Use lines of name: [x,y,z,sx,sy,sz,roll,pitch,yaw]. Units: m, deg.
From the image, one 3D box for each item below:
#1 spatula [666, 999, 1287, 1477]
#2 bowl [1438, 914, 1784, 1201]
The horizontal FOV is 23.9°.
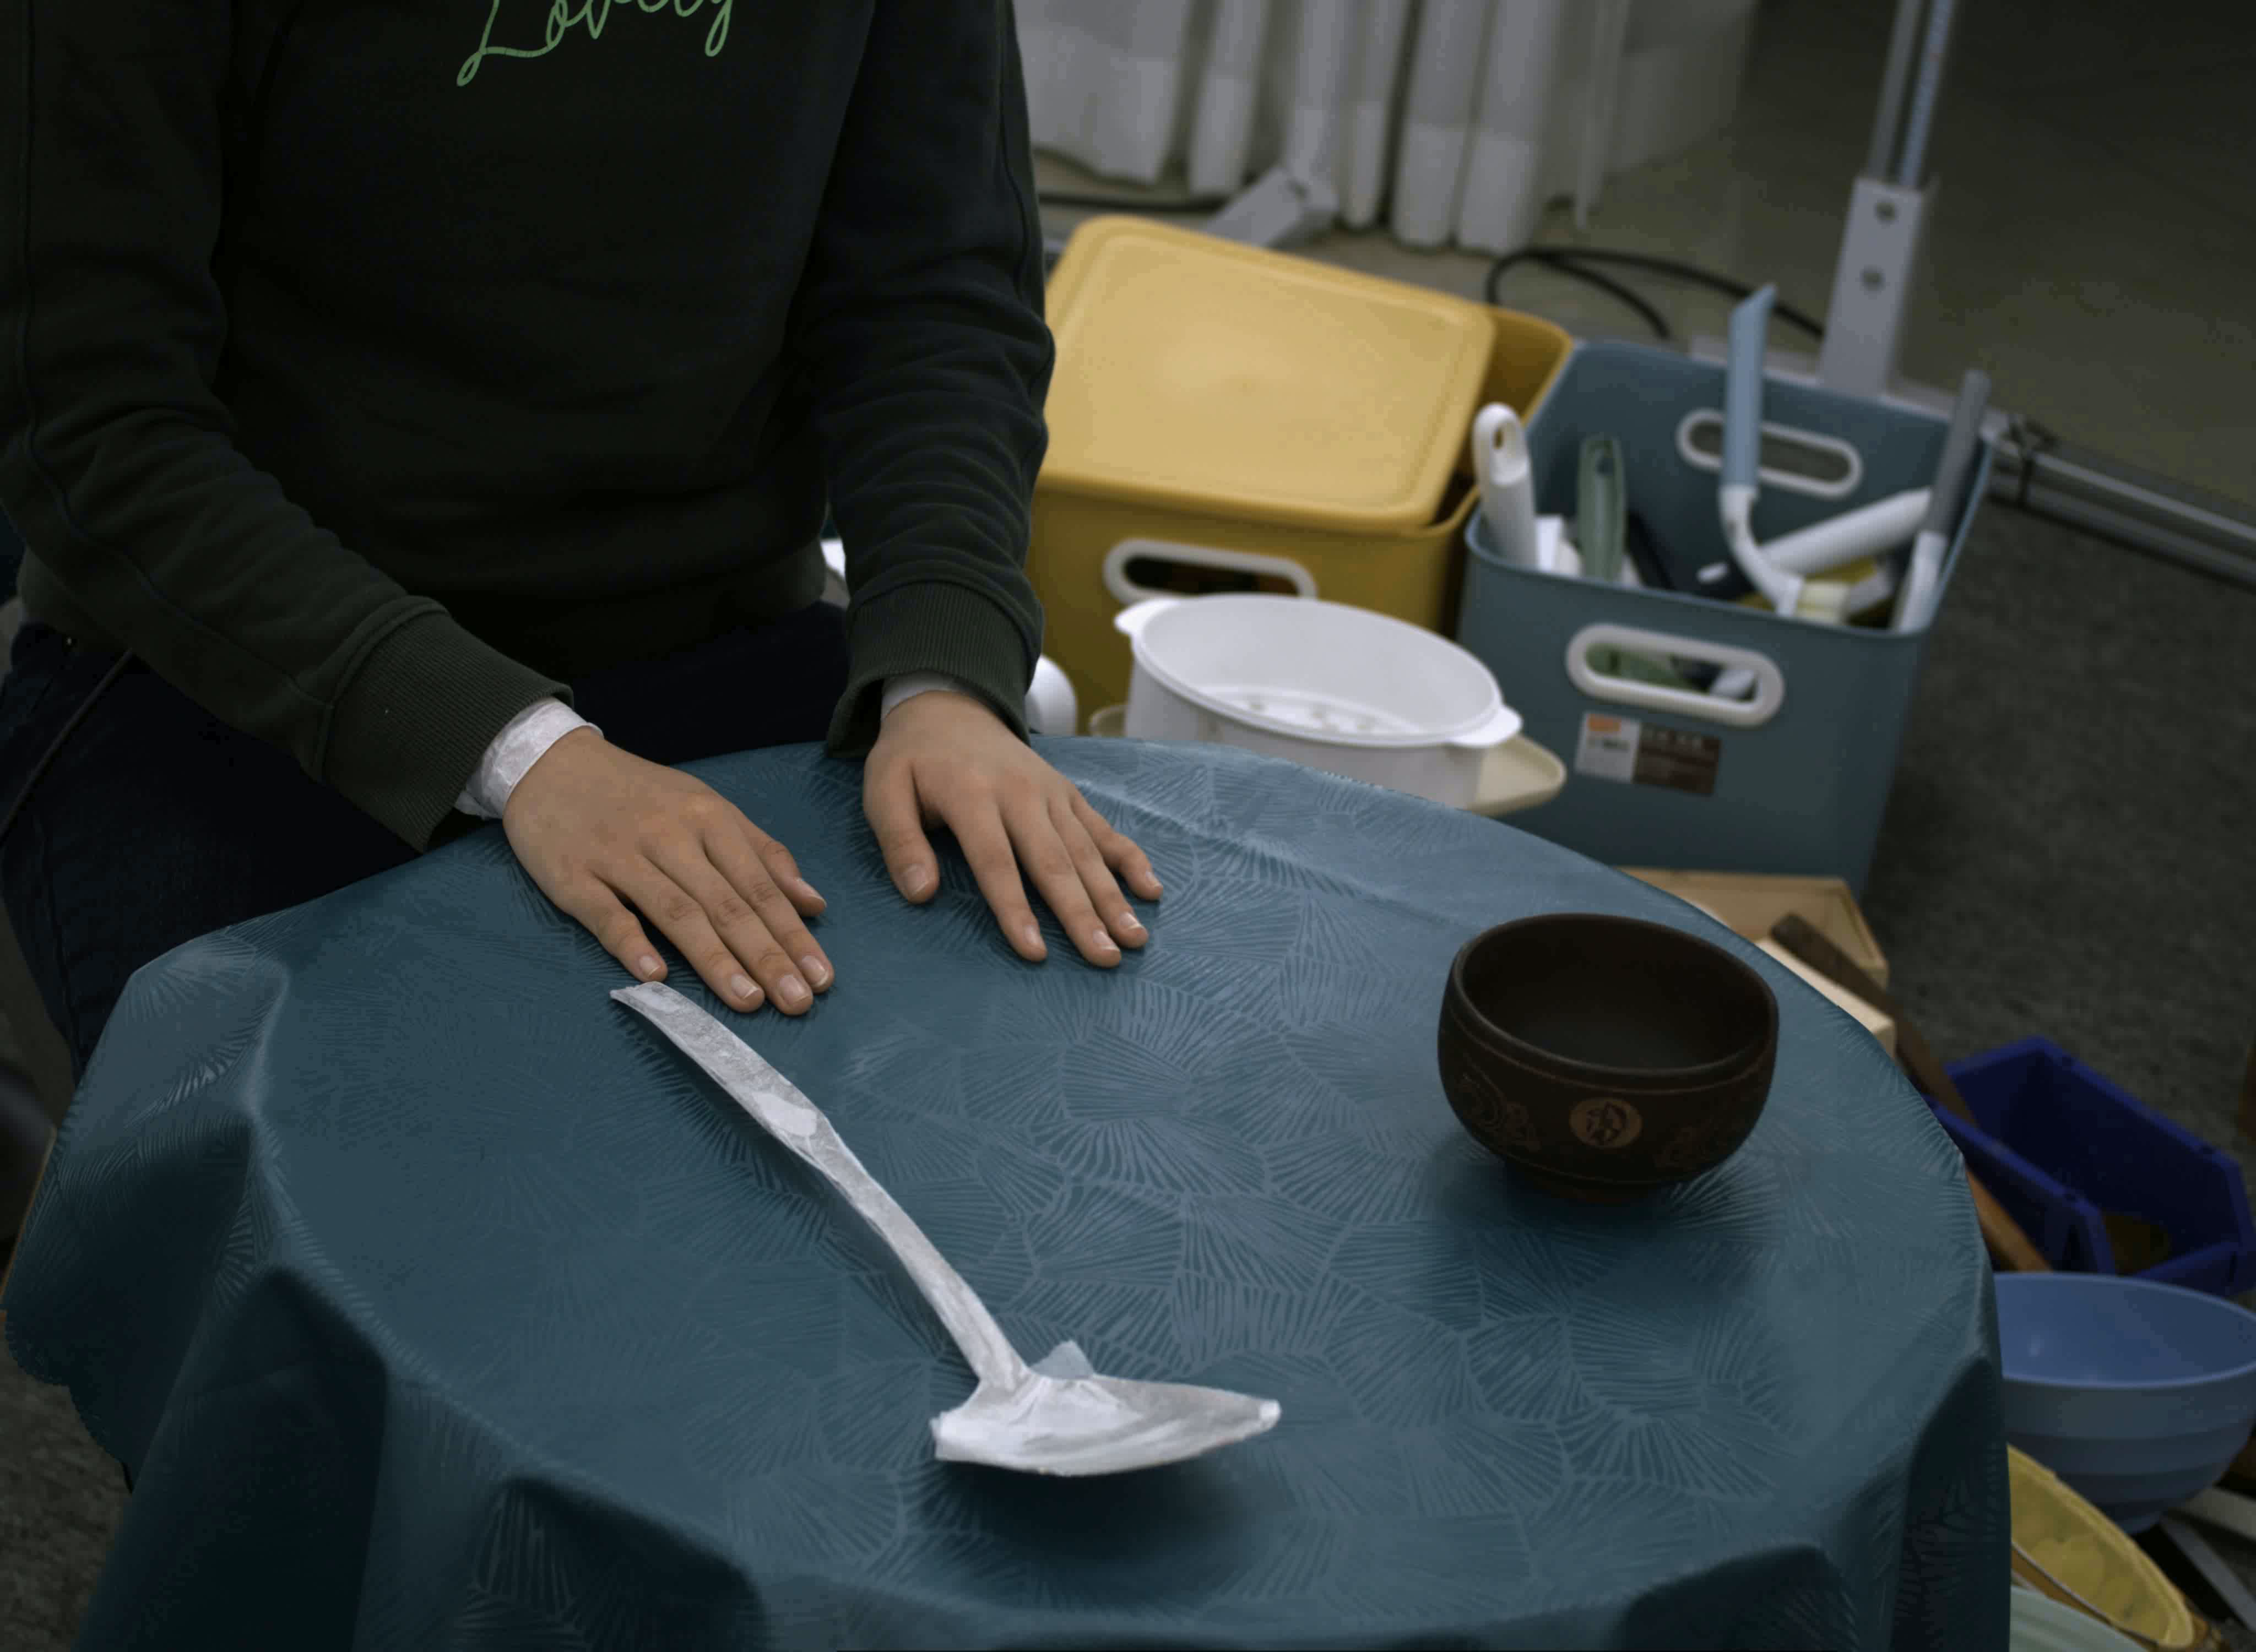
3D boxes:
spatula: [-0.074,0.126,1.736,0.098,0.044,0.368,-11,32,-27]
bowl: [0.164,0.086,1.833,0.117,0.069,0.118,5,24,-3]
